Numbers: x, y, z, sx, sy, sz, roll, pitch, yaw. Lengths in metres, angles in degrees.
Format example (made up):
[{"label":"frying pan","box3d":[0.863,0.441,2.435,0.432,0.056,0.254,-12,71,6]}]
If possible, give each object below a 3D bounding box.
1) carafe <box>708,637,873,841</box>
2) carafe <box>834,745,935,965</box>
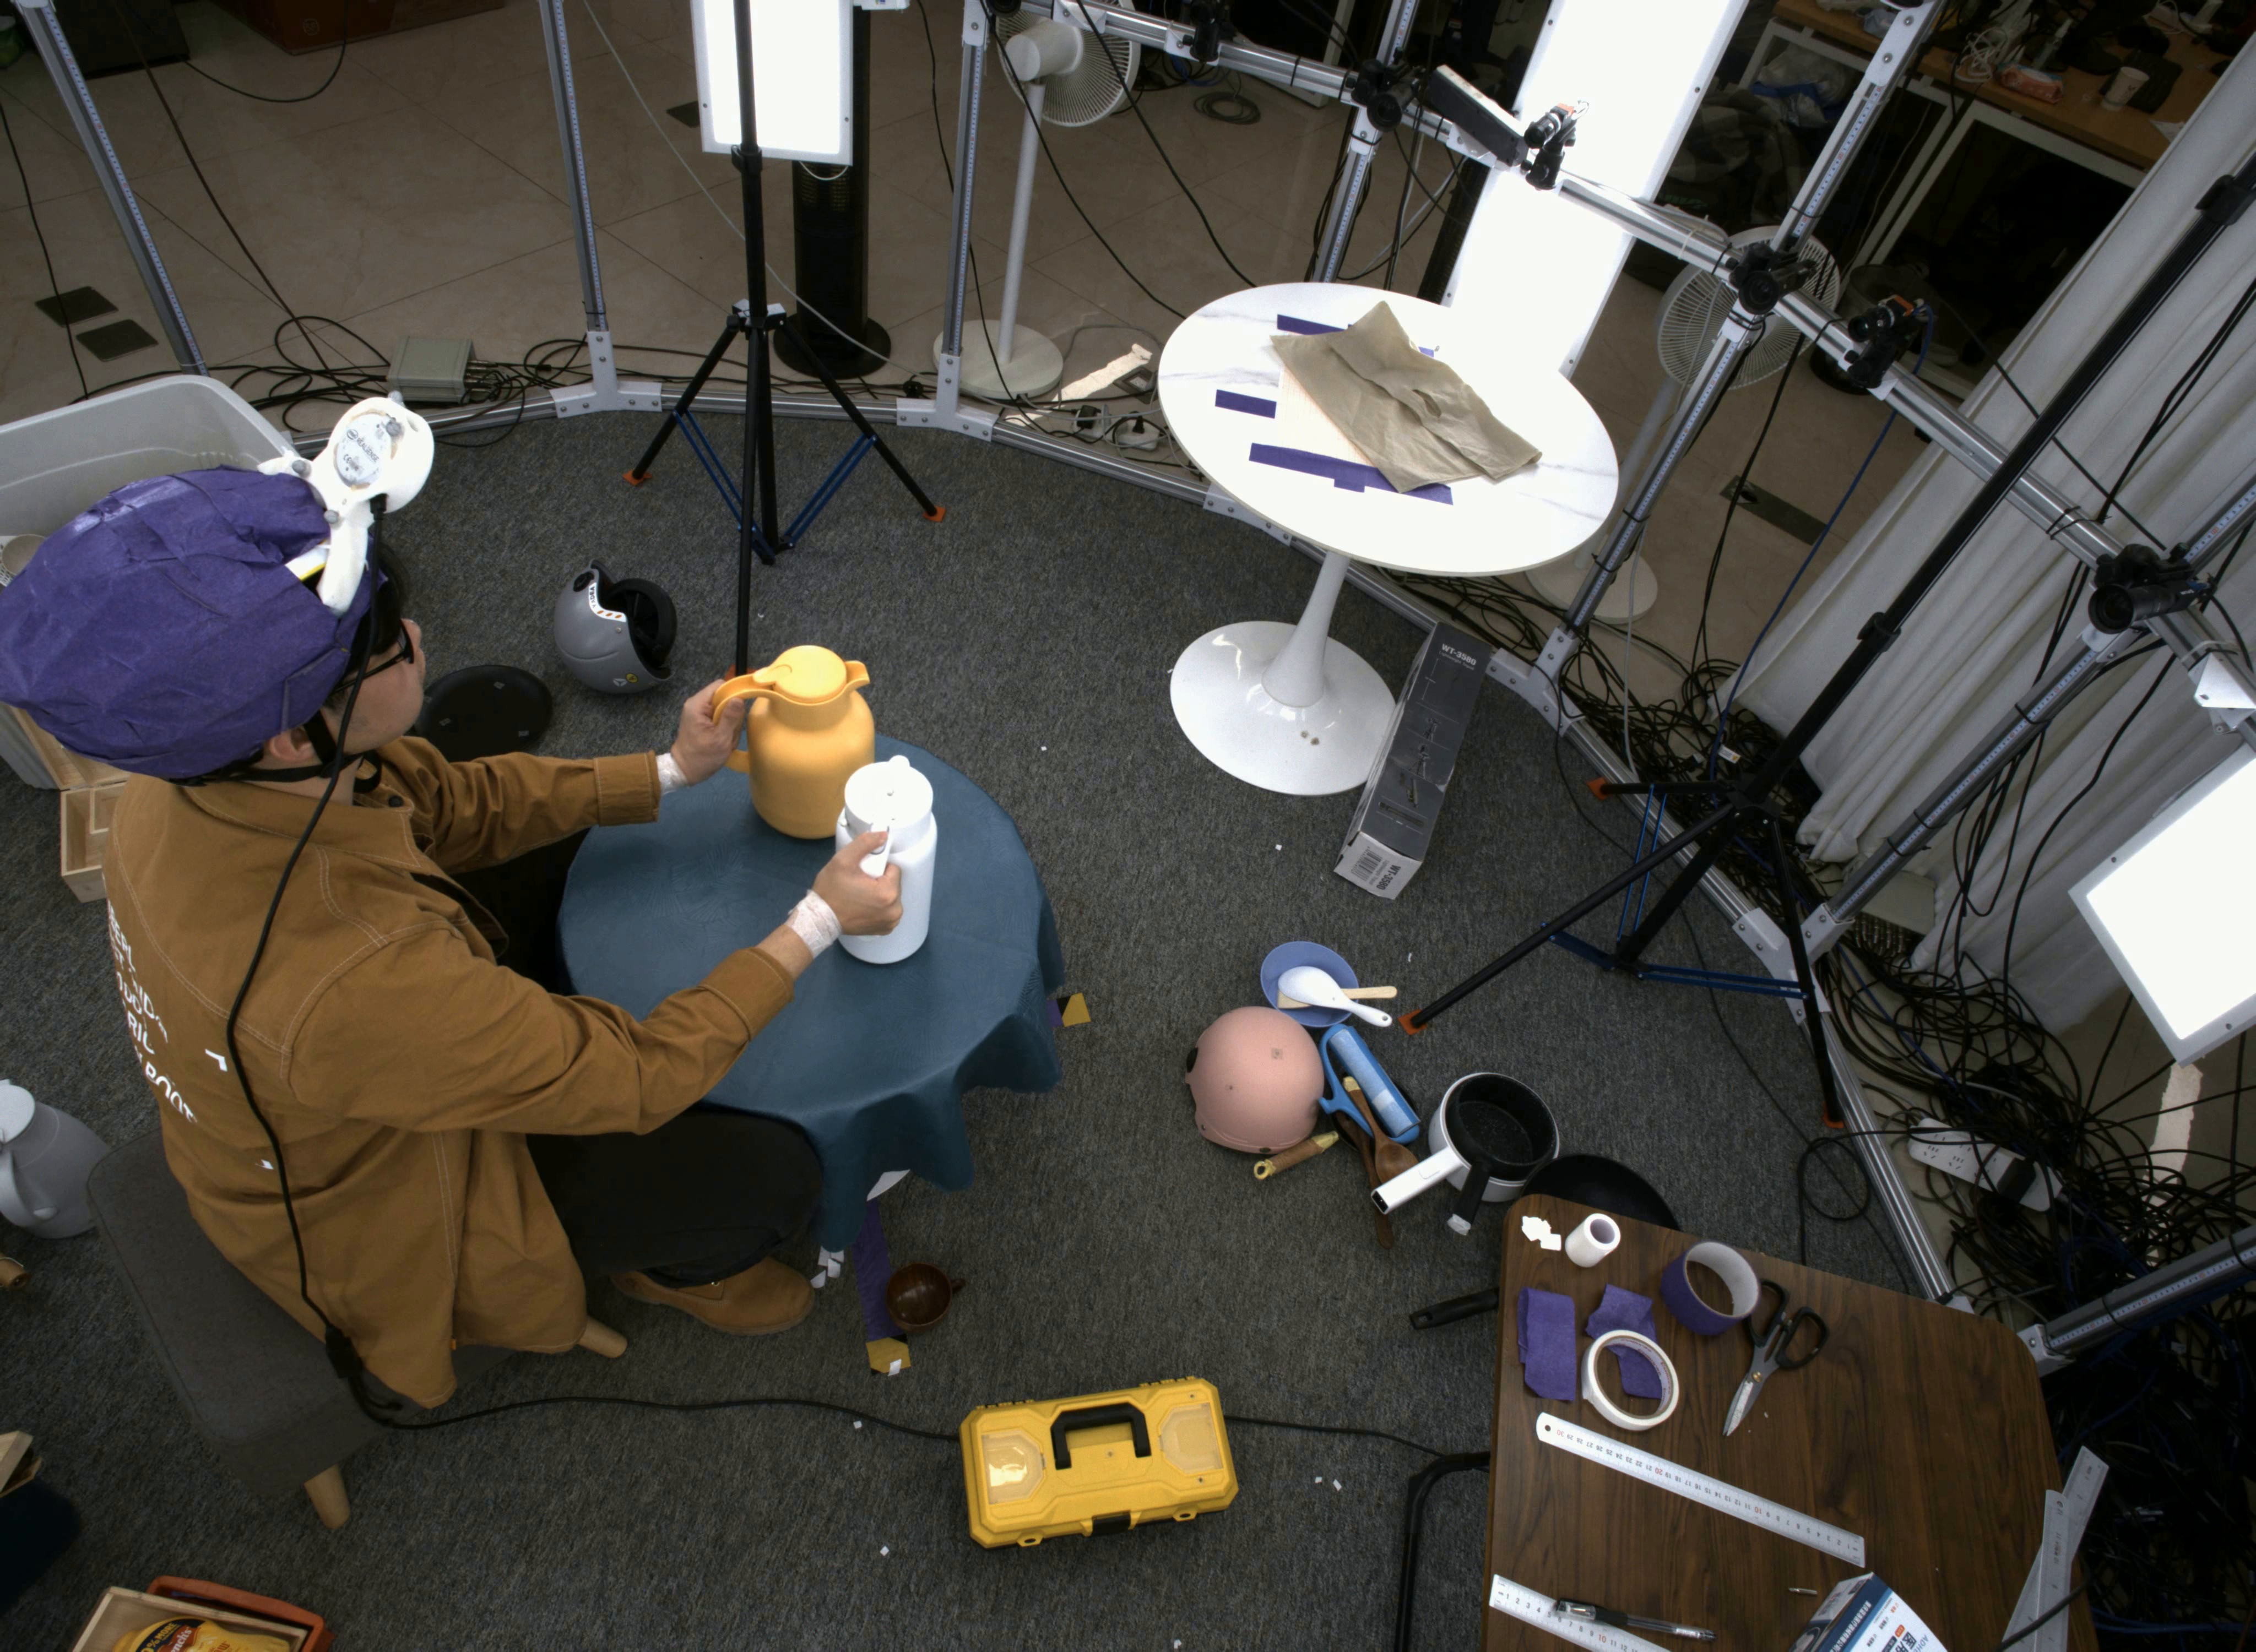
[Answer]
[{"label":"carafe","box3d":[-0.424,-0.114,1.636,0.203,0.266,0.159,-6,51,-19]},{"label":"carafe","box3d":[-0.291,0.056,1.538,0.123,0.274,0.170,11,49,-6]}]
